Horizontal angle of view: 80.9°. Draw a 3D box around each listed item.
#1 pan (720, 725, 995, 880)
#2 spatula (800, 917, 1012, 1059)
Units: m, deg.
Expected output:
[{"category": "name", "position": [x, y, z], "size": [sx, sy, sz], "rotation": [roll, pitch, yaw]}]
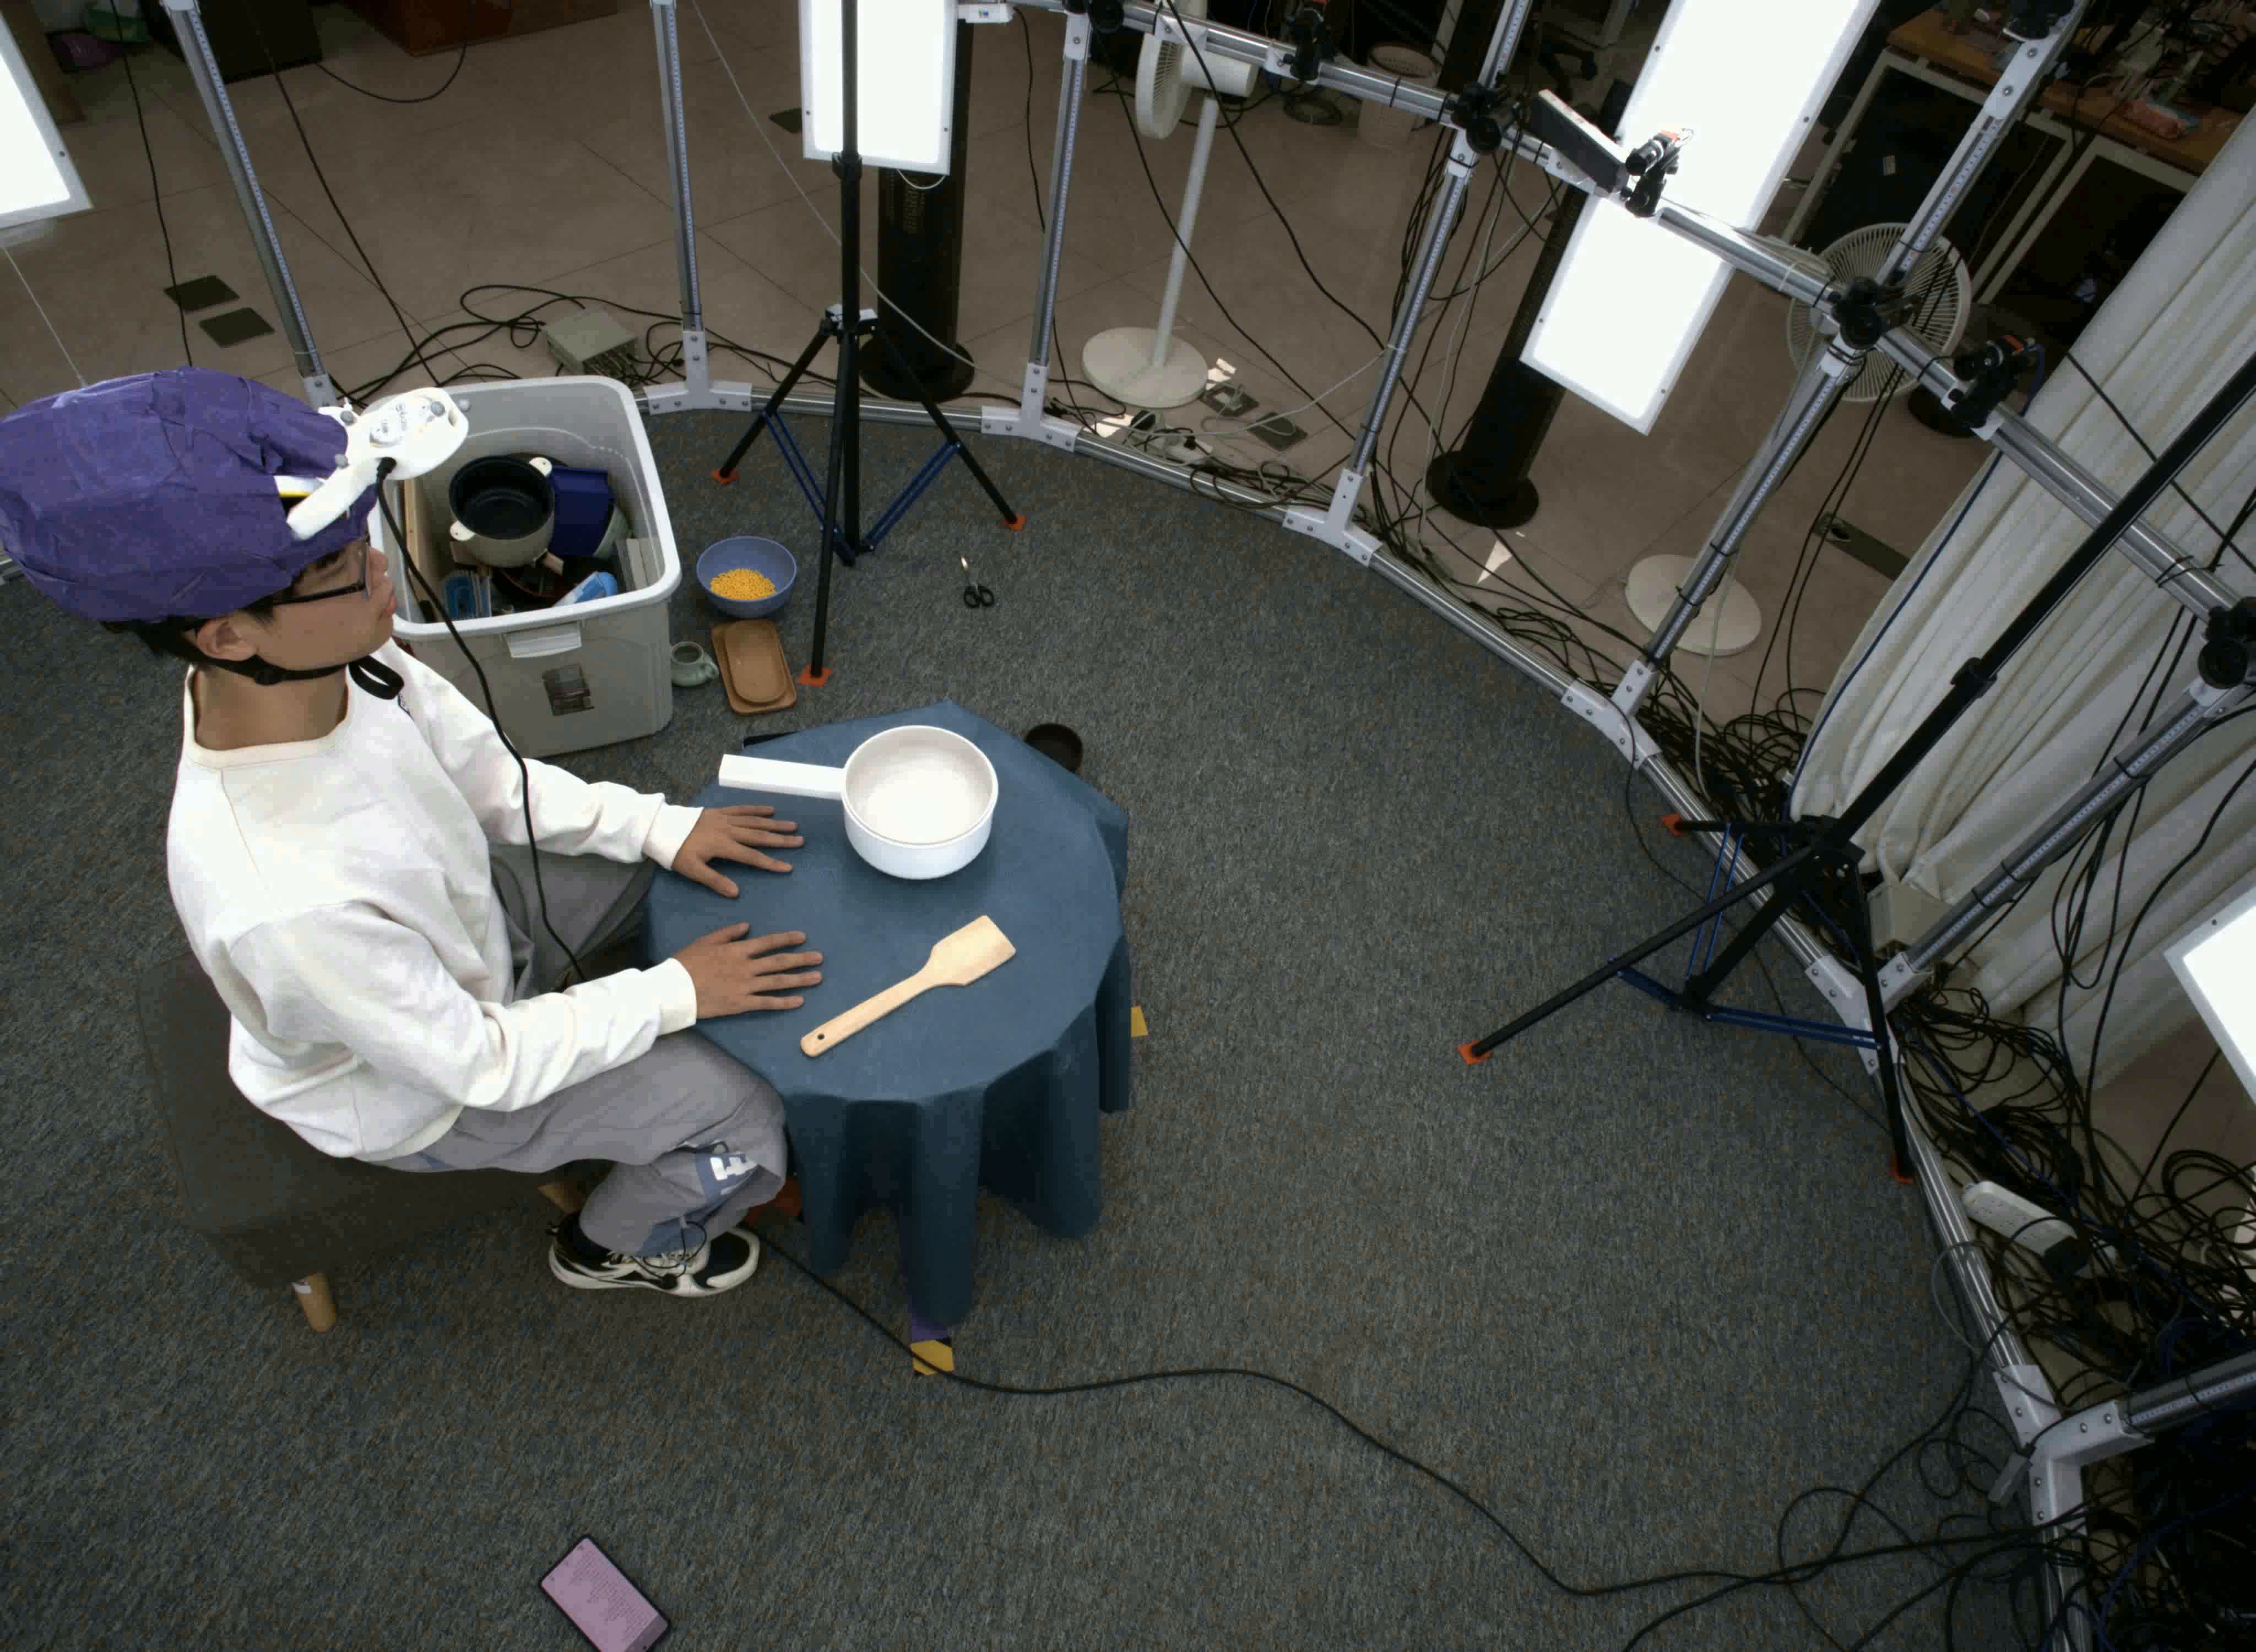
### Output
[{"category": "pan", "position": [-0.353, -0.035, 1.714], "size": [0.353, 0.104, 0.197], "rotation": [6, 53, -7]}, {"category": "spatula", "position": [-0.276, 0.203, 1.613], "size": [0.294, 0.011, 0.070], "rotation": [-30, 67, -30]}]
